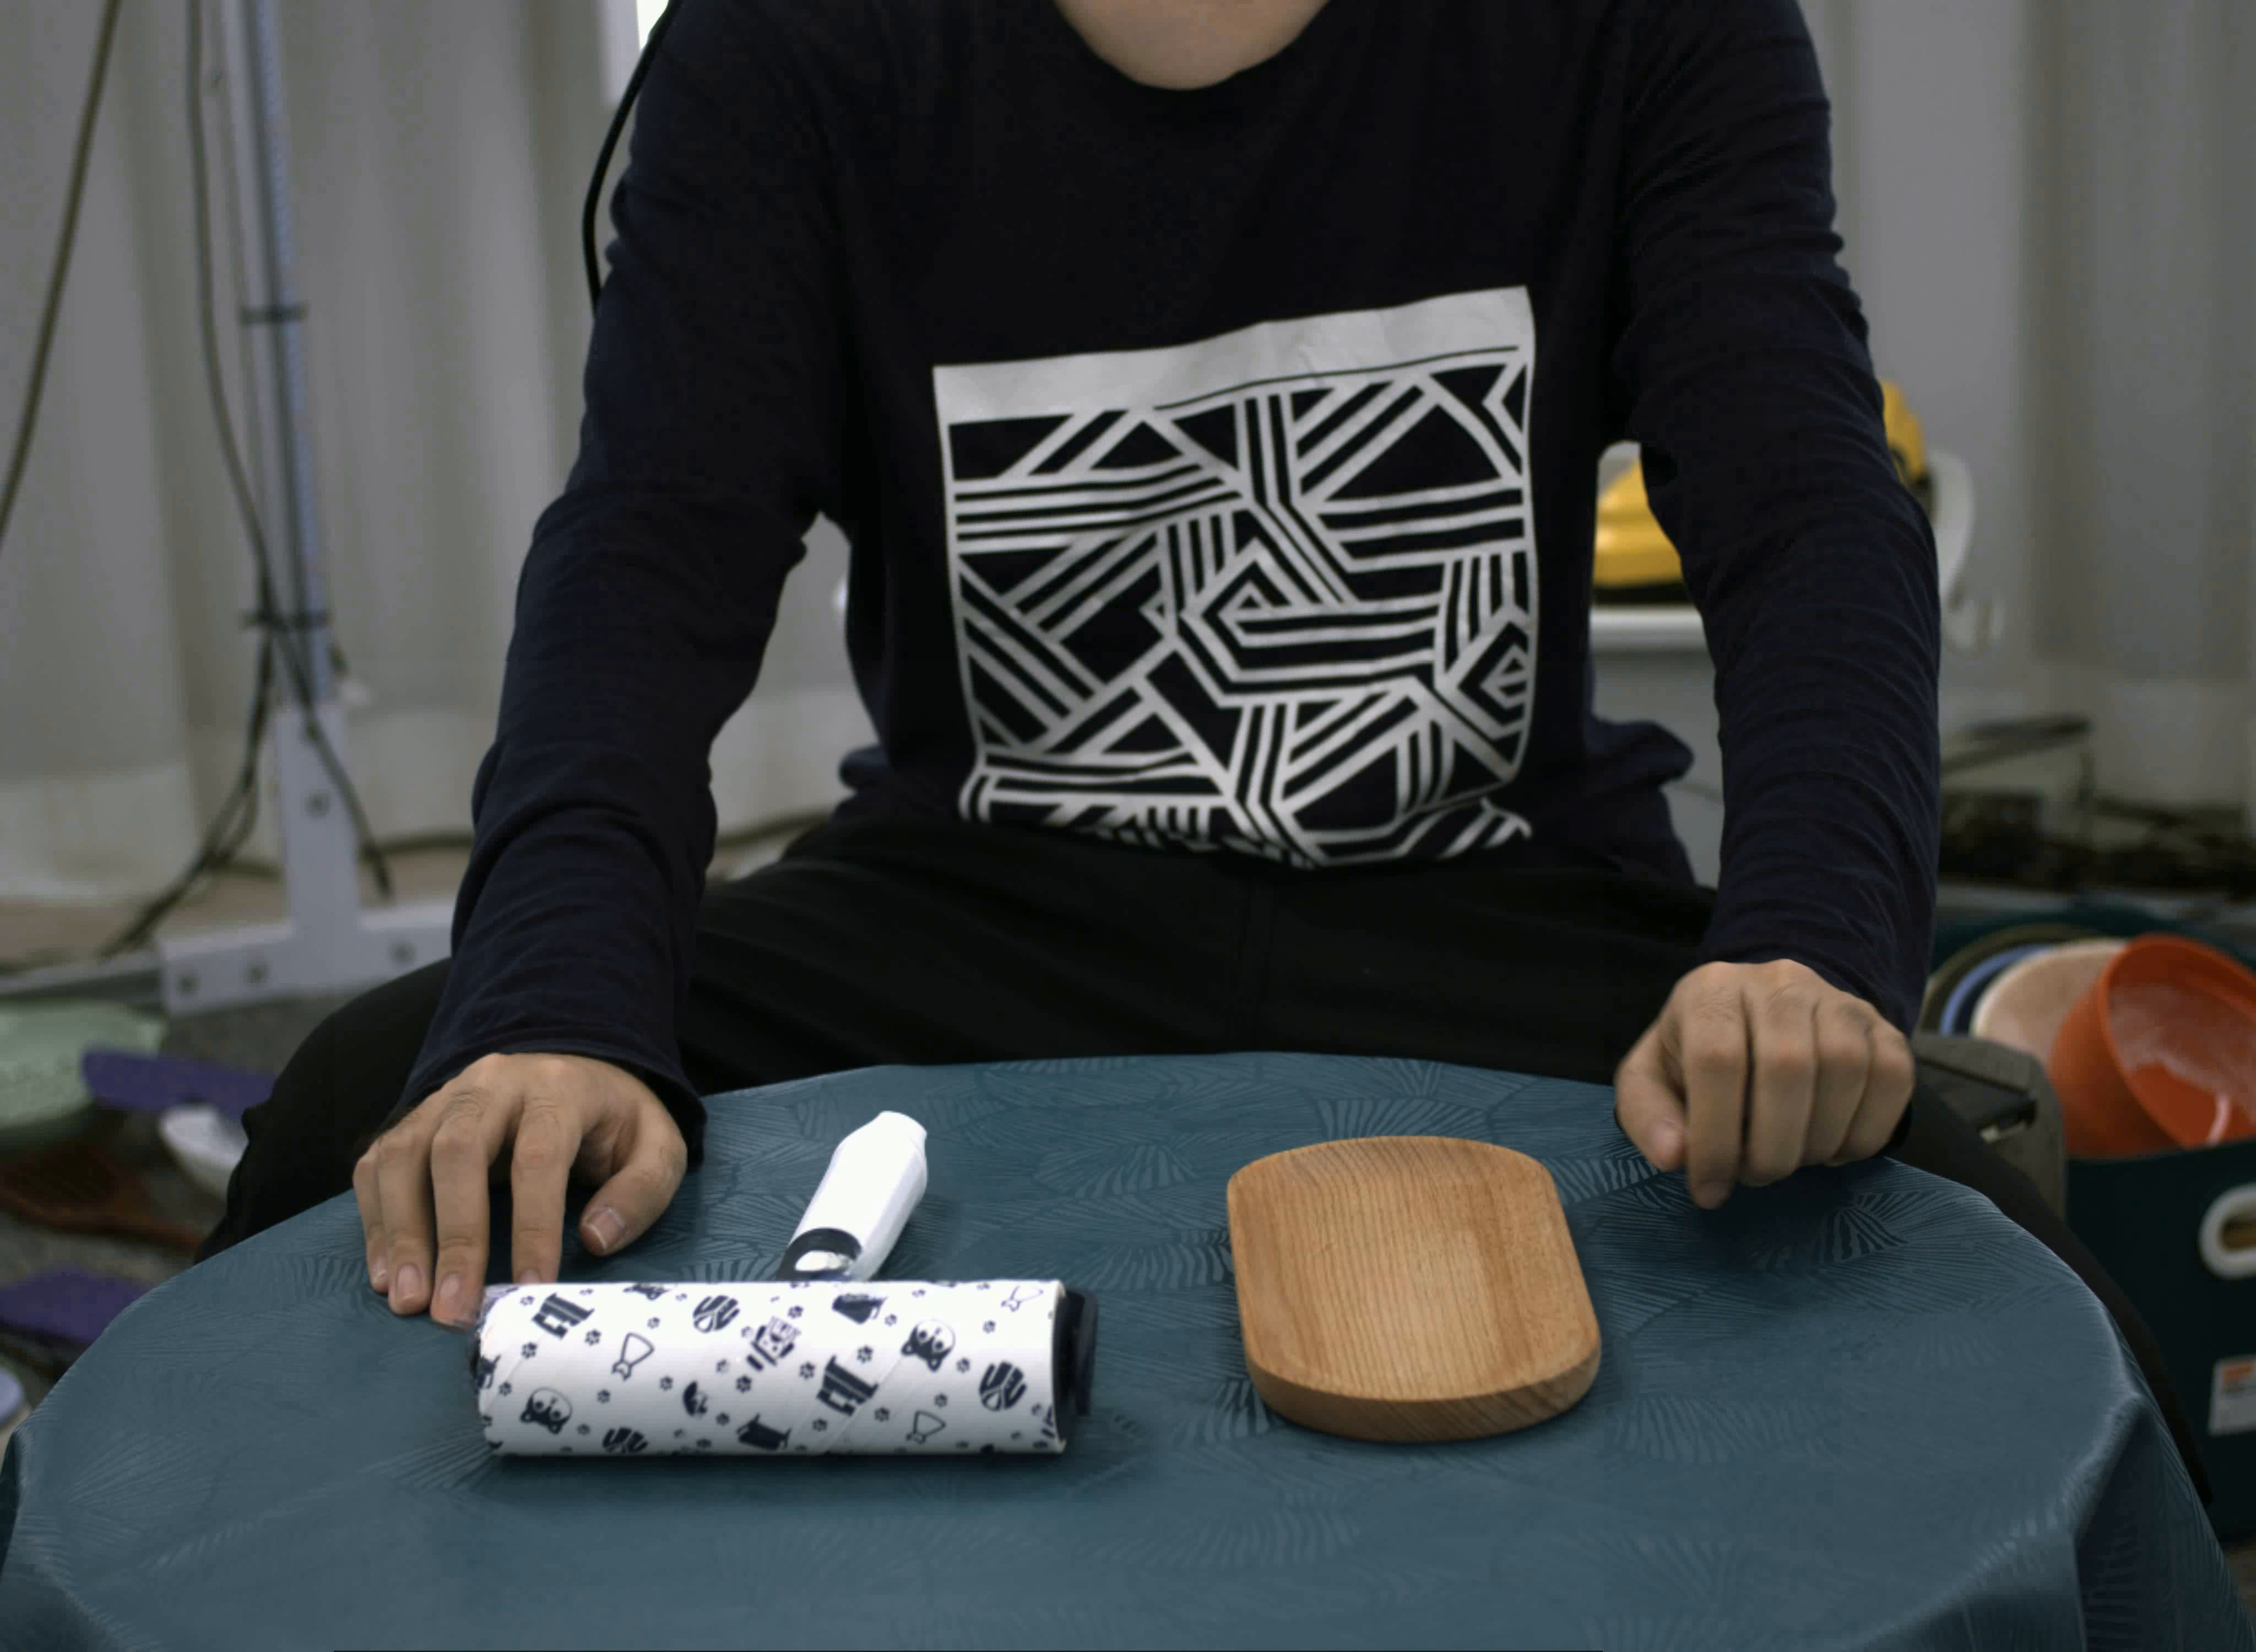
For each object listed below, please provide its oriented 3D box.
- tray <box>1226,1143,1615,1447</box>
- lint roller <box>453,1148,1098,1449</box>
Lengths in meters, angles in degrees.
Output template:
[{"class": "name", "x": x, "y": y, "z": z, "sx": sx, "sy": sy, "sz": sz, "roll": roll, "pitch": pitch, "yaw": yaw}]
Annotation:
[{"class": "tray", "x": 0.083, "y": 0.135, "z": 1.597, "sx": 0.101, "sy": 0.020, "sz": 0.233, "roll": -5, "pitch": 16, "yaw": -1}, {"class": "lint roller", "x": -0.089, "y": 0.128, "z": 1.608, "sx": 0.176, "sy": 0.050, "sz": 0.248, "roll": -2, "pitch": 11, "yaw": 6}]
